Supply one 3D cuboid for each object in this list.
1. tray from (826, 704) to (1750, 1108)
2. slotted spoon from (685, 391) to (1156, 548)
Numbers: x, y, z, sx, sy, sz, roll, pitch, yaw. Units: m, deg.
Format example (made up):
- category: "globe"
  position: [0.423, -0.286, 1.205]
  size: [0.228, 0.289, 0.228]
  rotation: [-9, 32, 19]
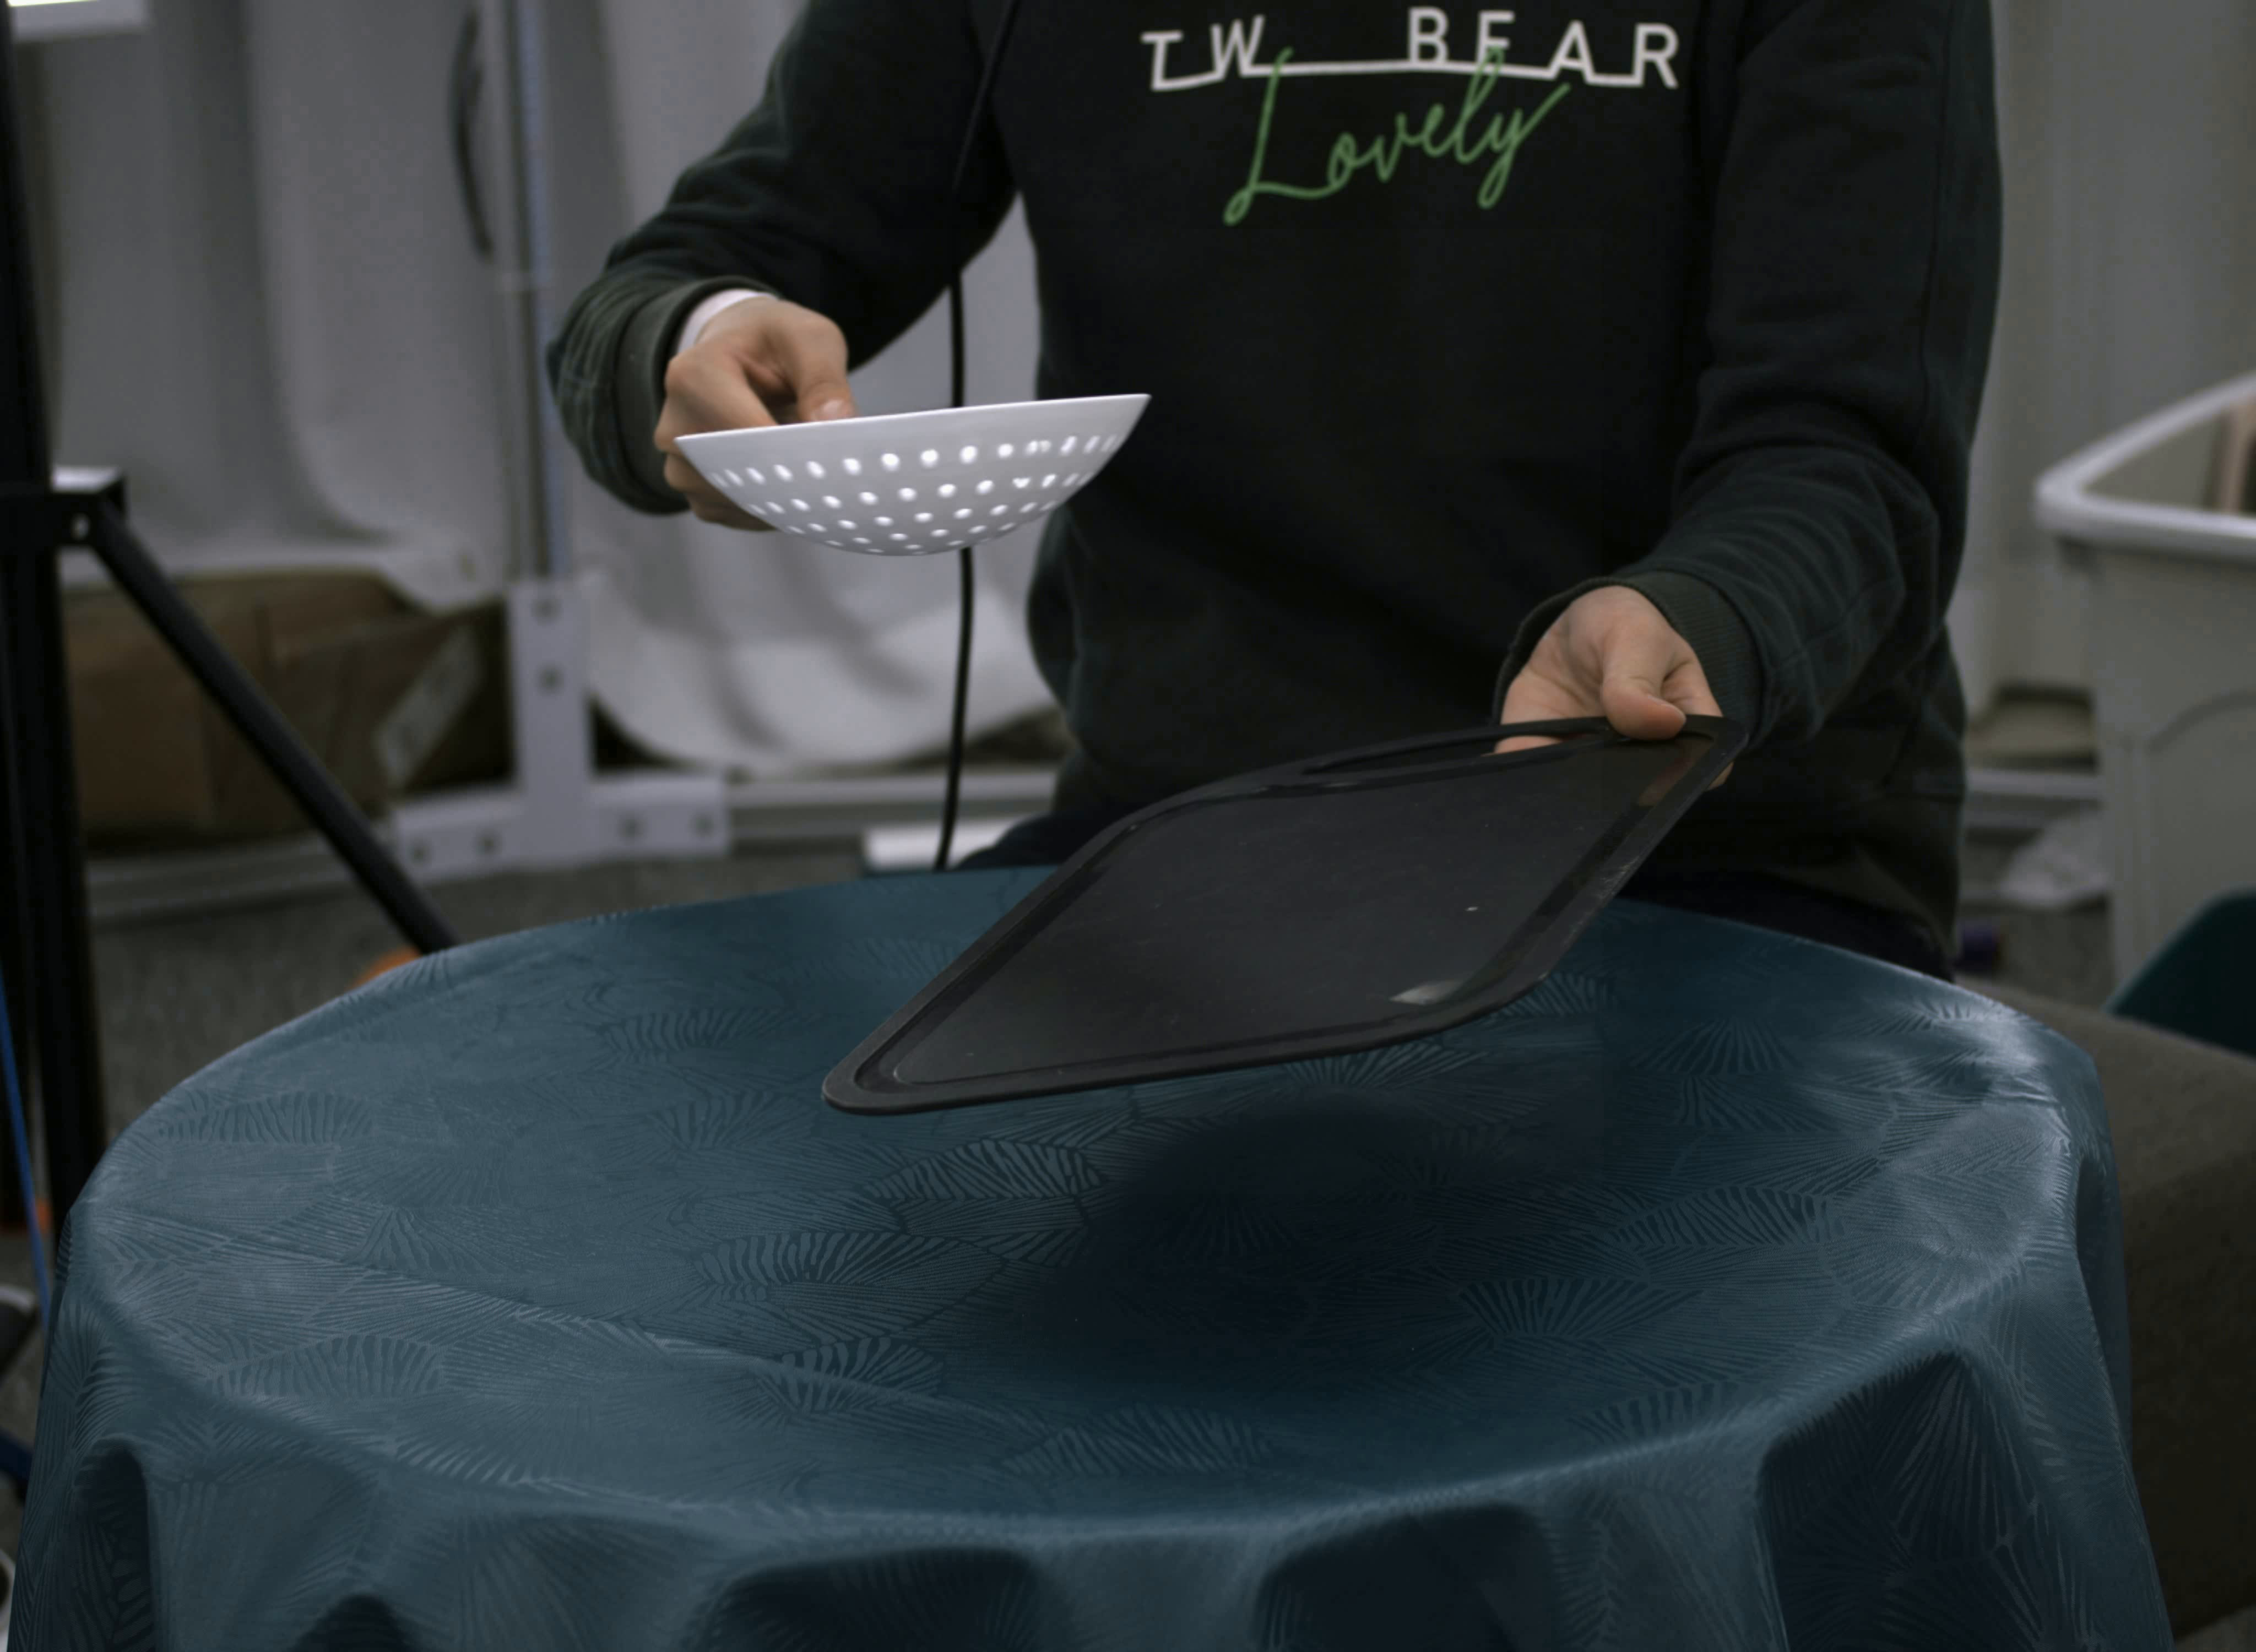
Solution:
- category: "tray"
  position: [0.054, 0.017, 1.516]
  size: [0.214, 0.010, 0.322]
  rotation: [-9, 14, 24]
- category: "slotted spoon"
  position: [-0.080, -0.116, 1.632]
  size: [0.134, 0.046, 0.353]
  rotation: [-5, 8, -10]
